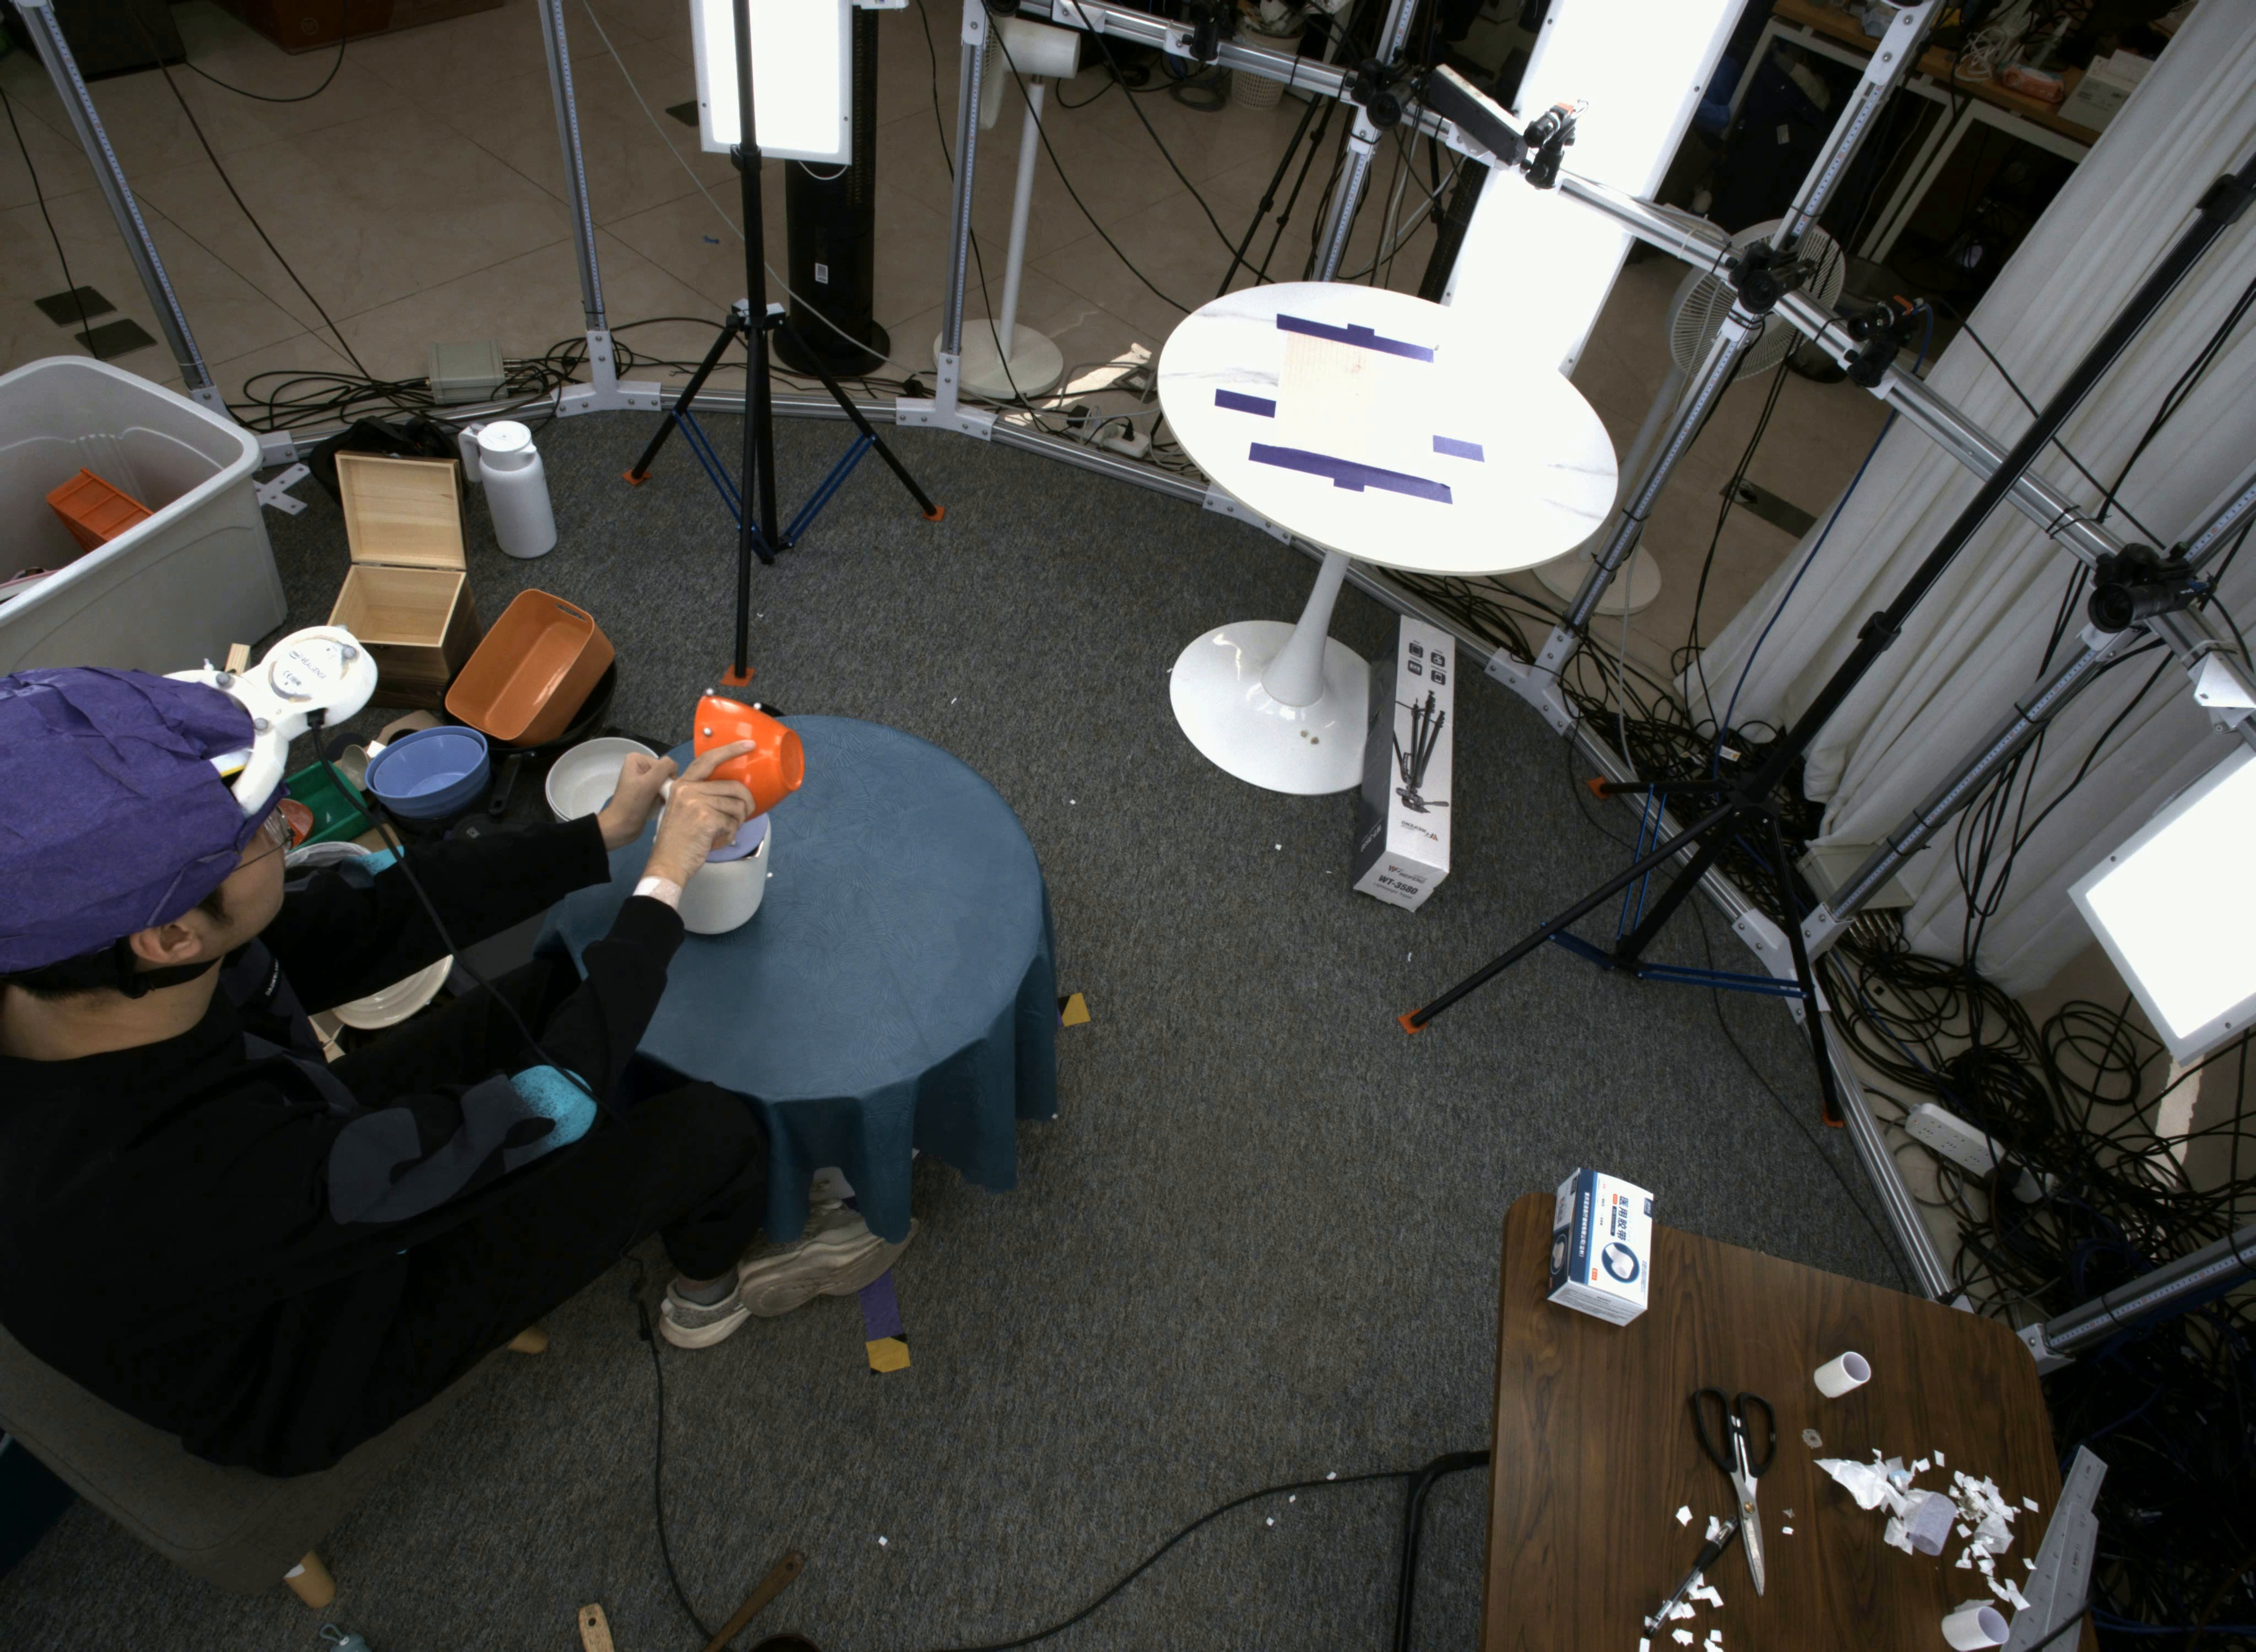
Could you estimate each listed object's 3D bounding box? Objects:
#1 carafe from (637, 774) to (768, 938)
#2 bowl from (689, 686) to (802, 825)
[{"bbox_3d":[-0.521,0.020,1.555,0.189,0.185,0.132,36,51,8],"label":"carafe"},{"bbox_3d":[-0.407,-0.078,1.386,0.103,0.153,0.145,-3,51,9],"label":"bowl"}]
